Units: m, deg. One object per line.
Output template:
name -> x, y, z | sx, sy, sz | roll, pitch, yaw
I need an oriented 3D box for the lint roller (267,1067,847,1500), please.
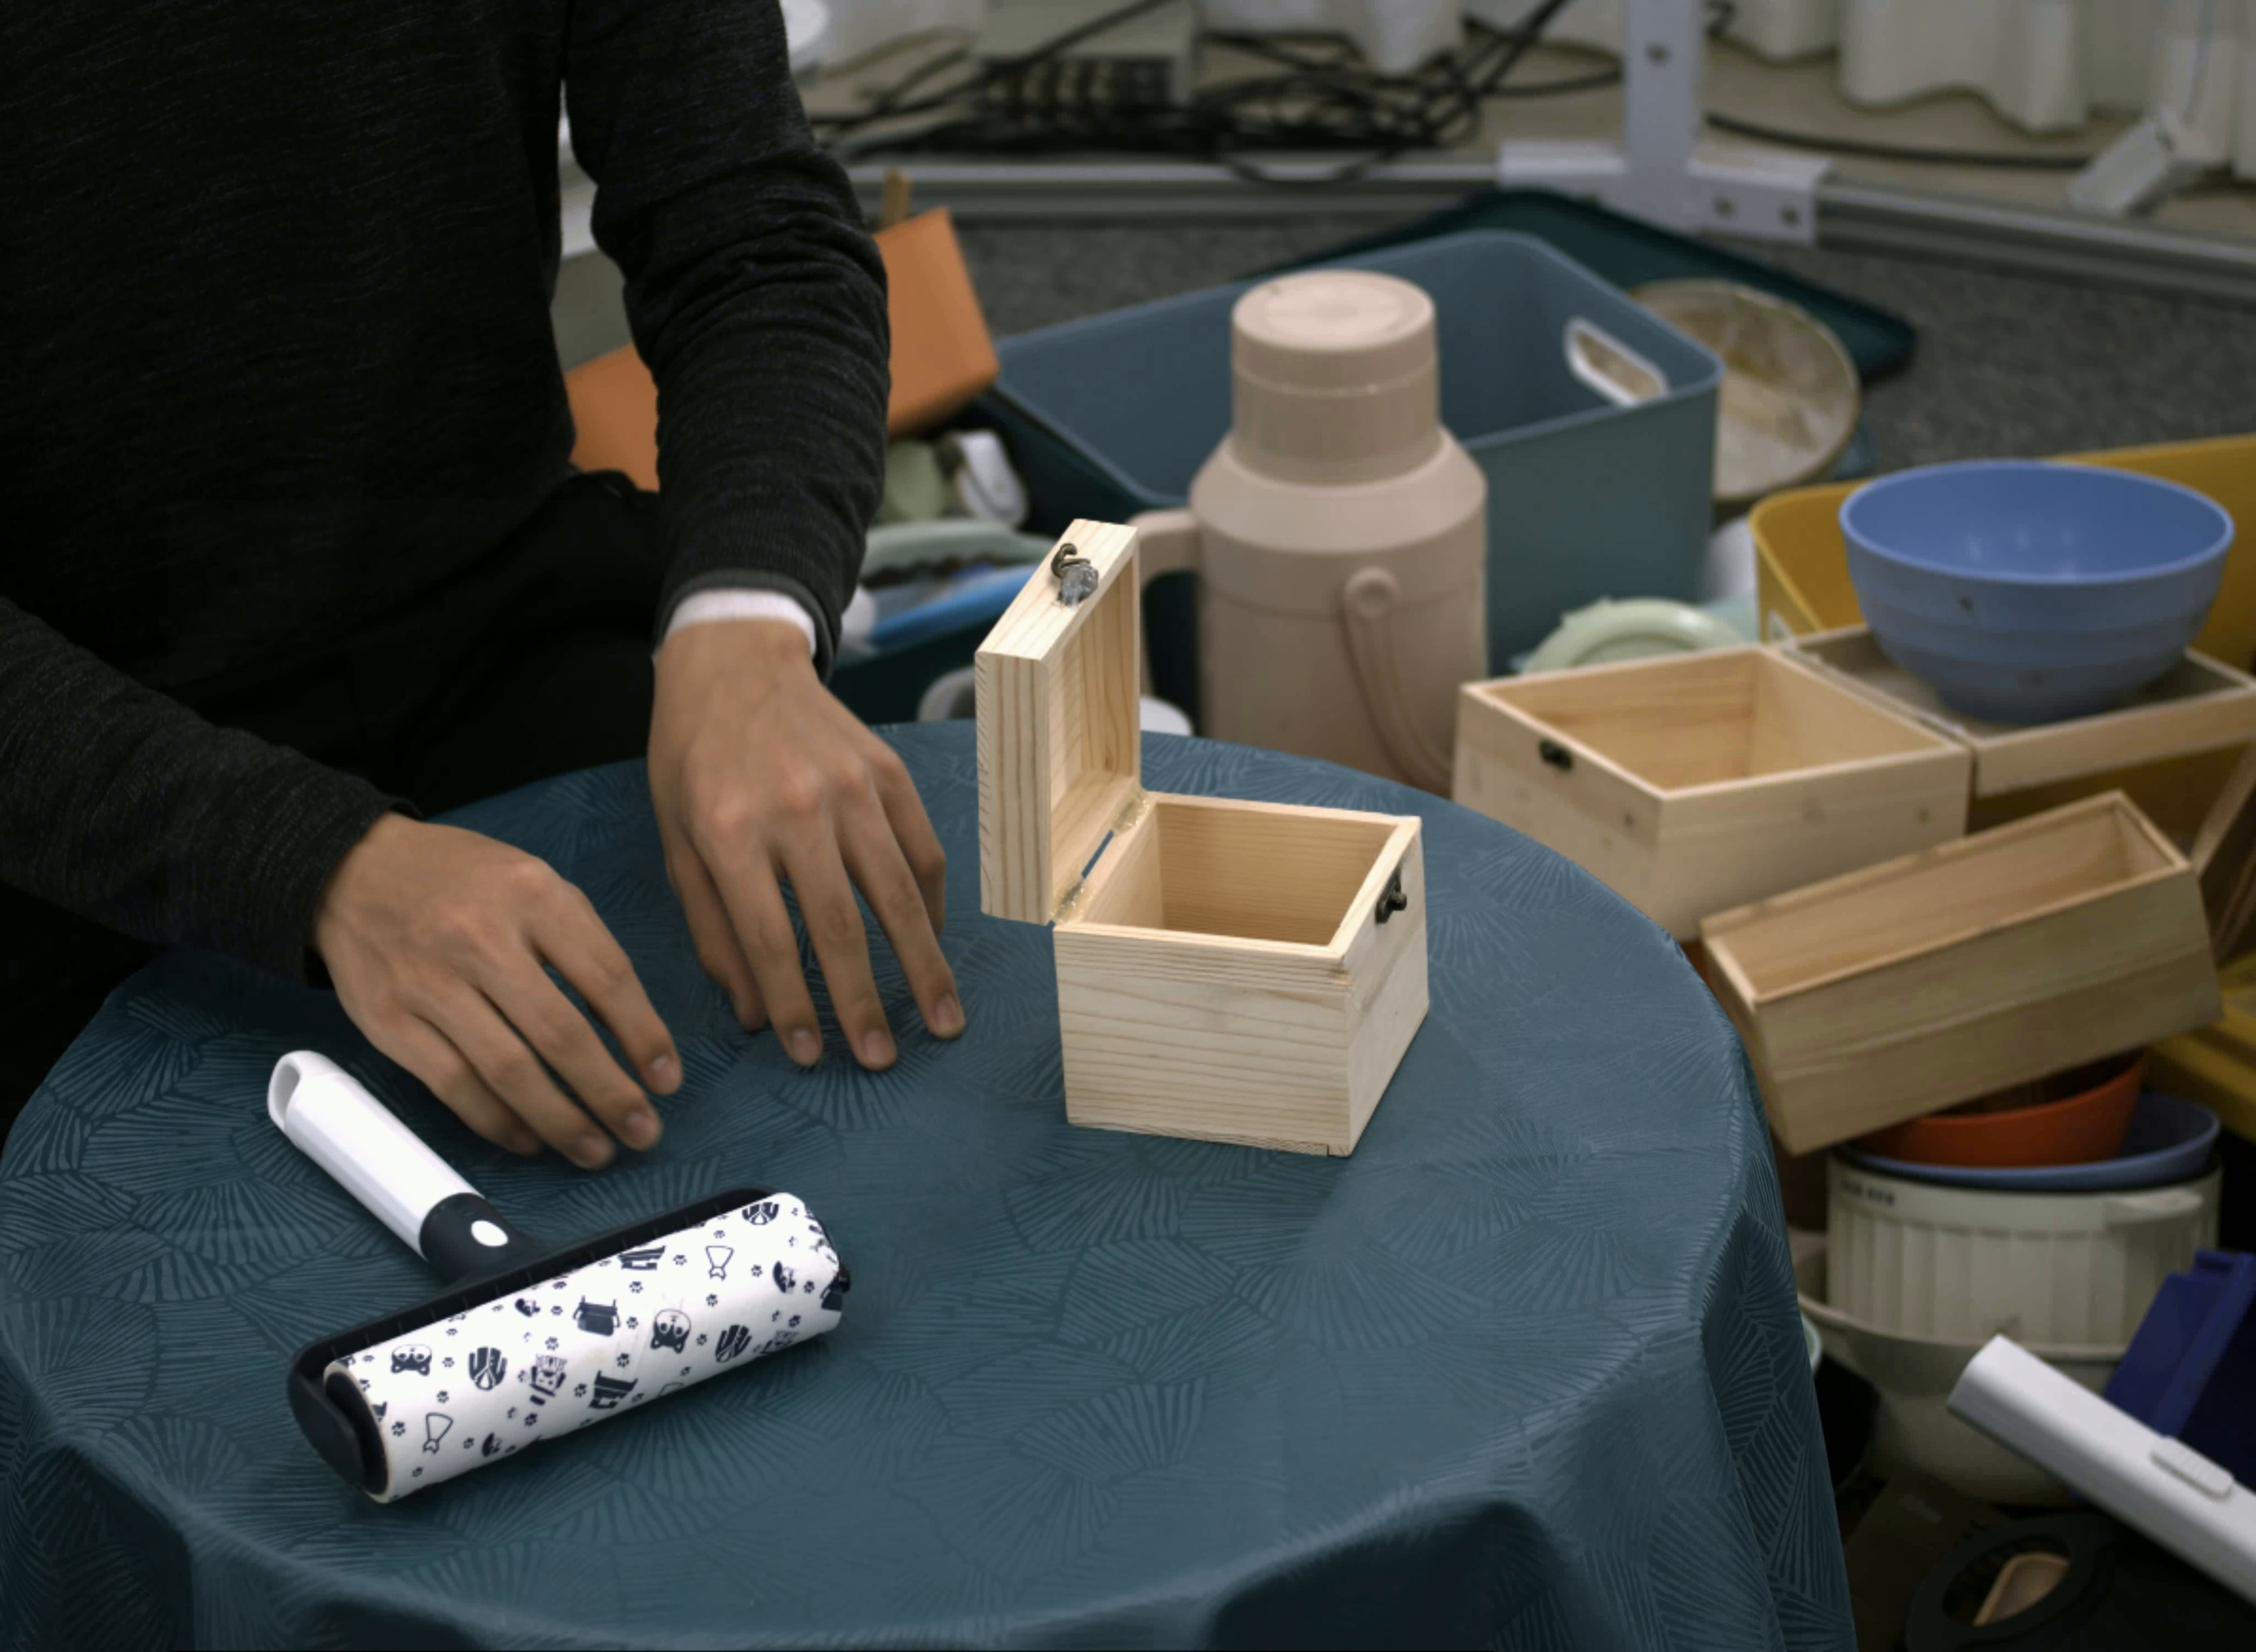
lint roller -> -0.225, 0.127, 1.827 | 0.177, 0.050, 0.247 | -20, 31, -28

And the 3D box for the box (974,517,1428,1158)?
box -> 0.029, 0.002, 1.893 | 0.133, 0.182, 0.104 | 5, 27, 17
